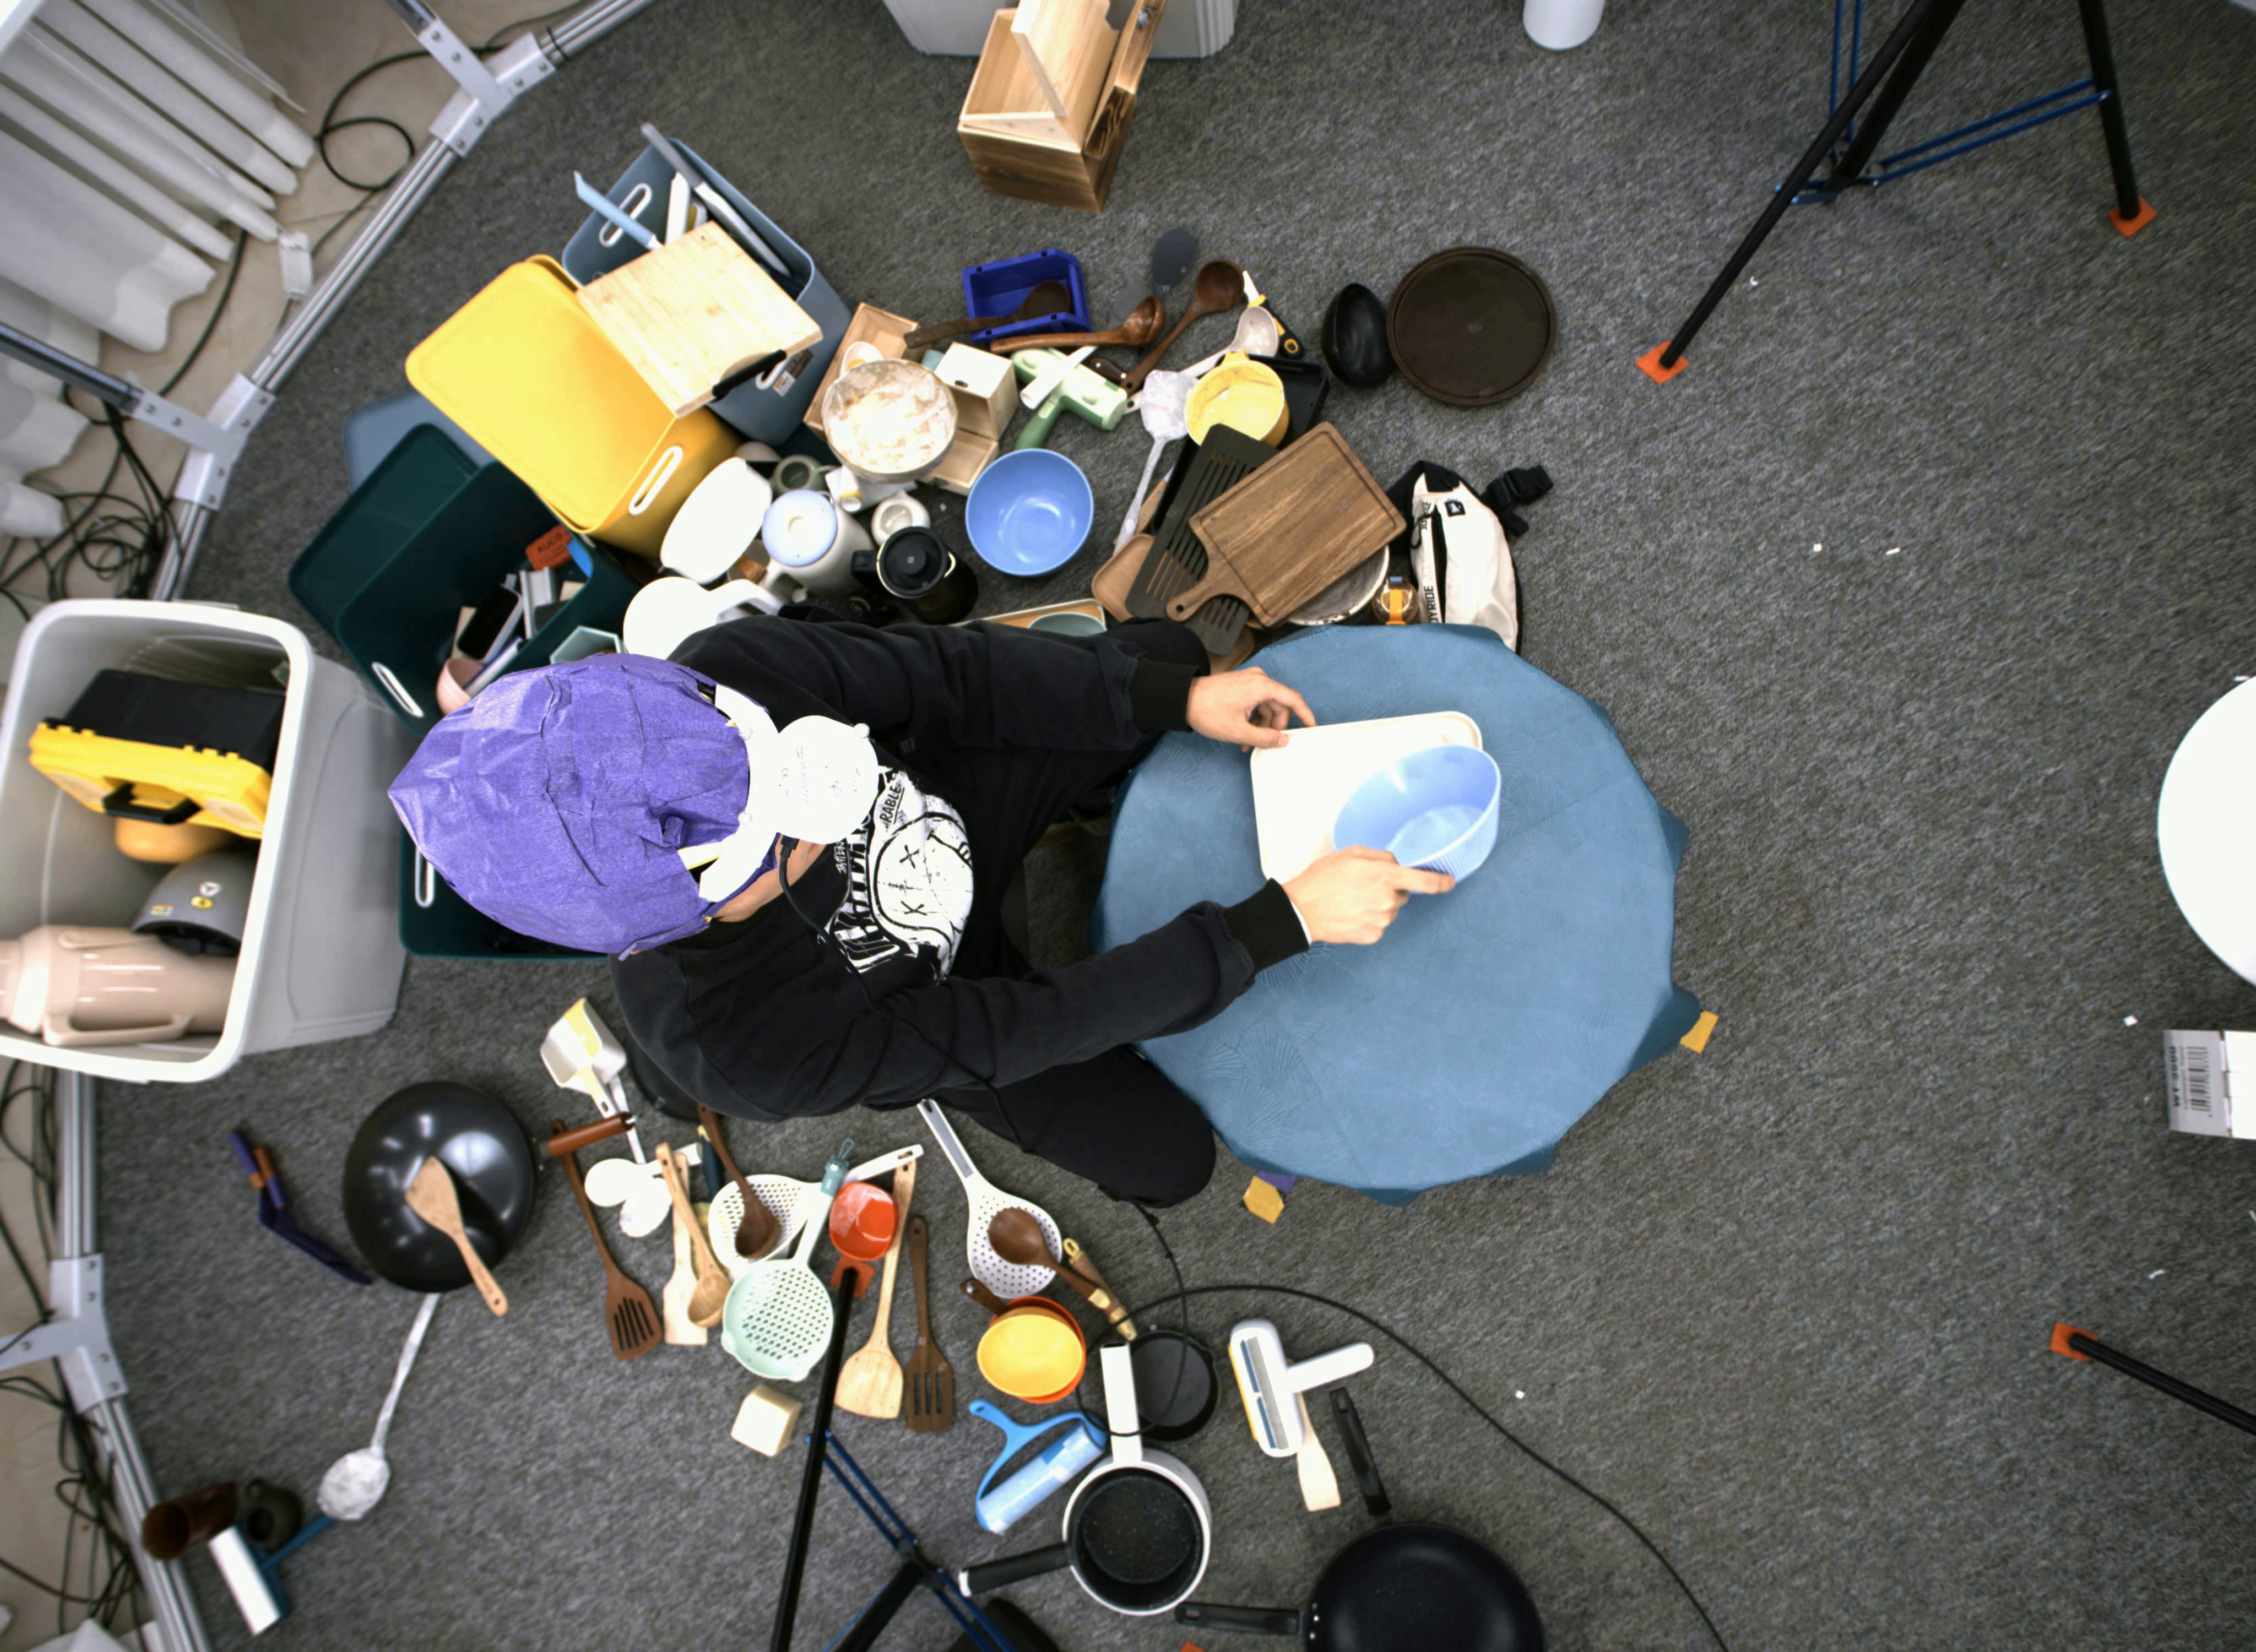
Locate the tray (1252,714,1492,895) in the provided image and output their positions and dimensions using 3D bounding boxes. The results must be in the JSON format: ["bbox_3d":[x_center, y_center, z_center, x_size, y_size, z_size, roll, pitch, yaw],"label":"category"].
[{"bbox_3d":[0.255,-0.024,1.439,0.240,0.017,0.172,-6,99,5],"label":"tray"}]

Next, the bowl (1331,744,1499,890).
[{"bbox_3d":[0.292,-0.001,1.359,0.177,0.172,0.071,-33,121,5],"label":"bowl"}]
